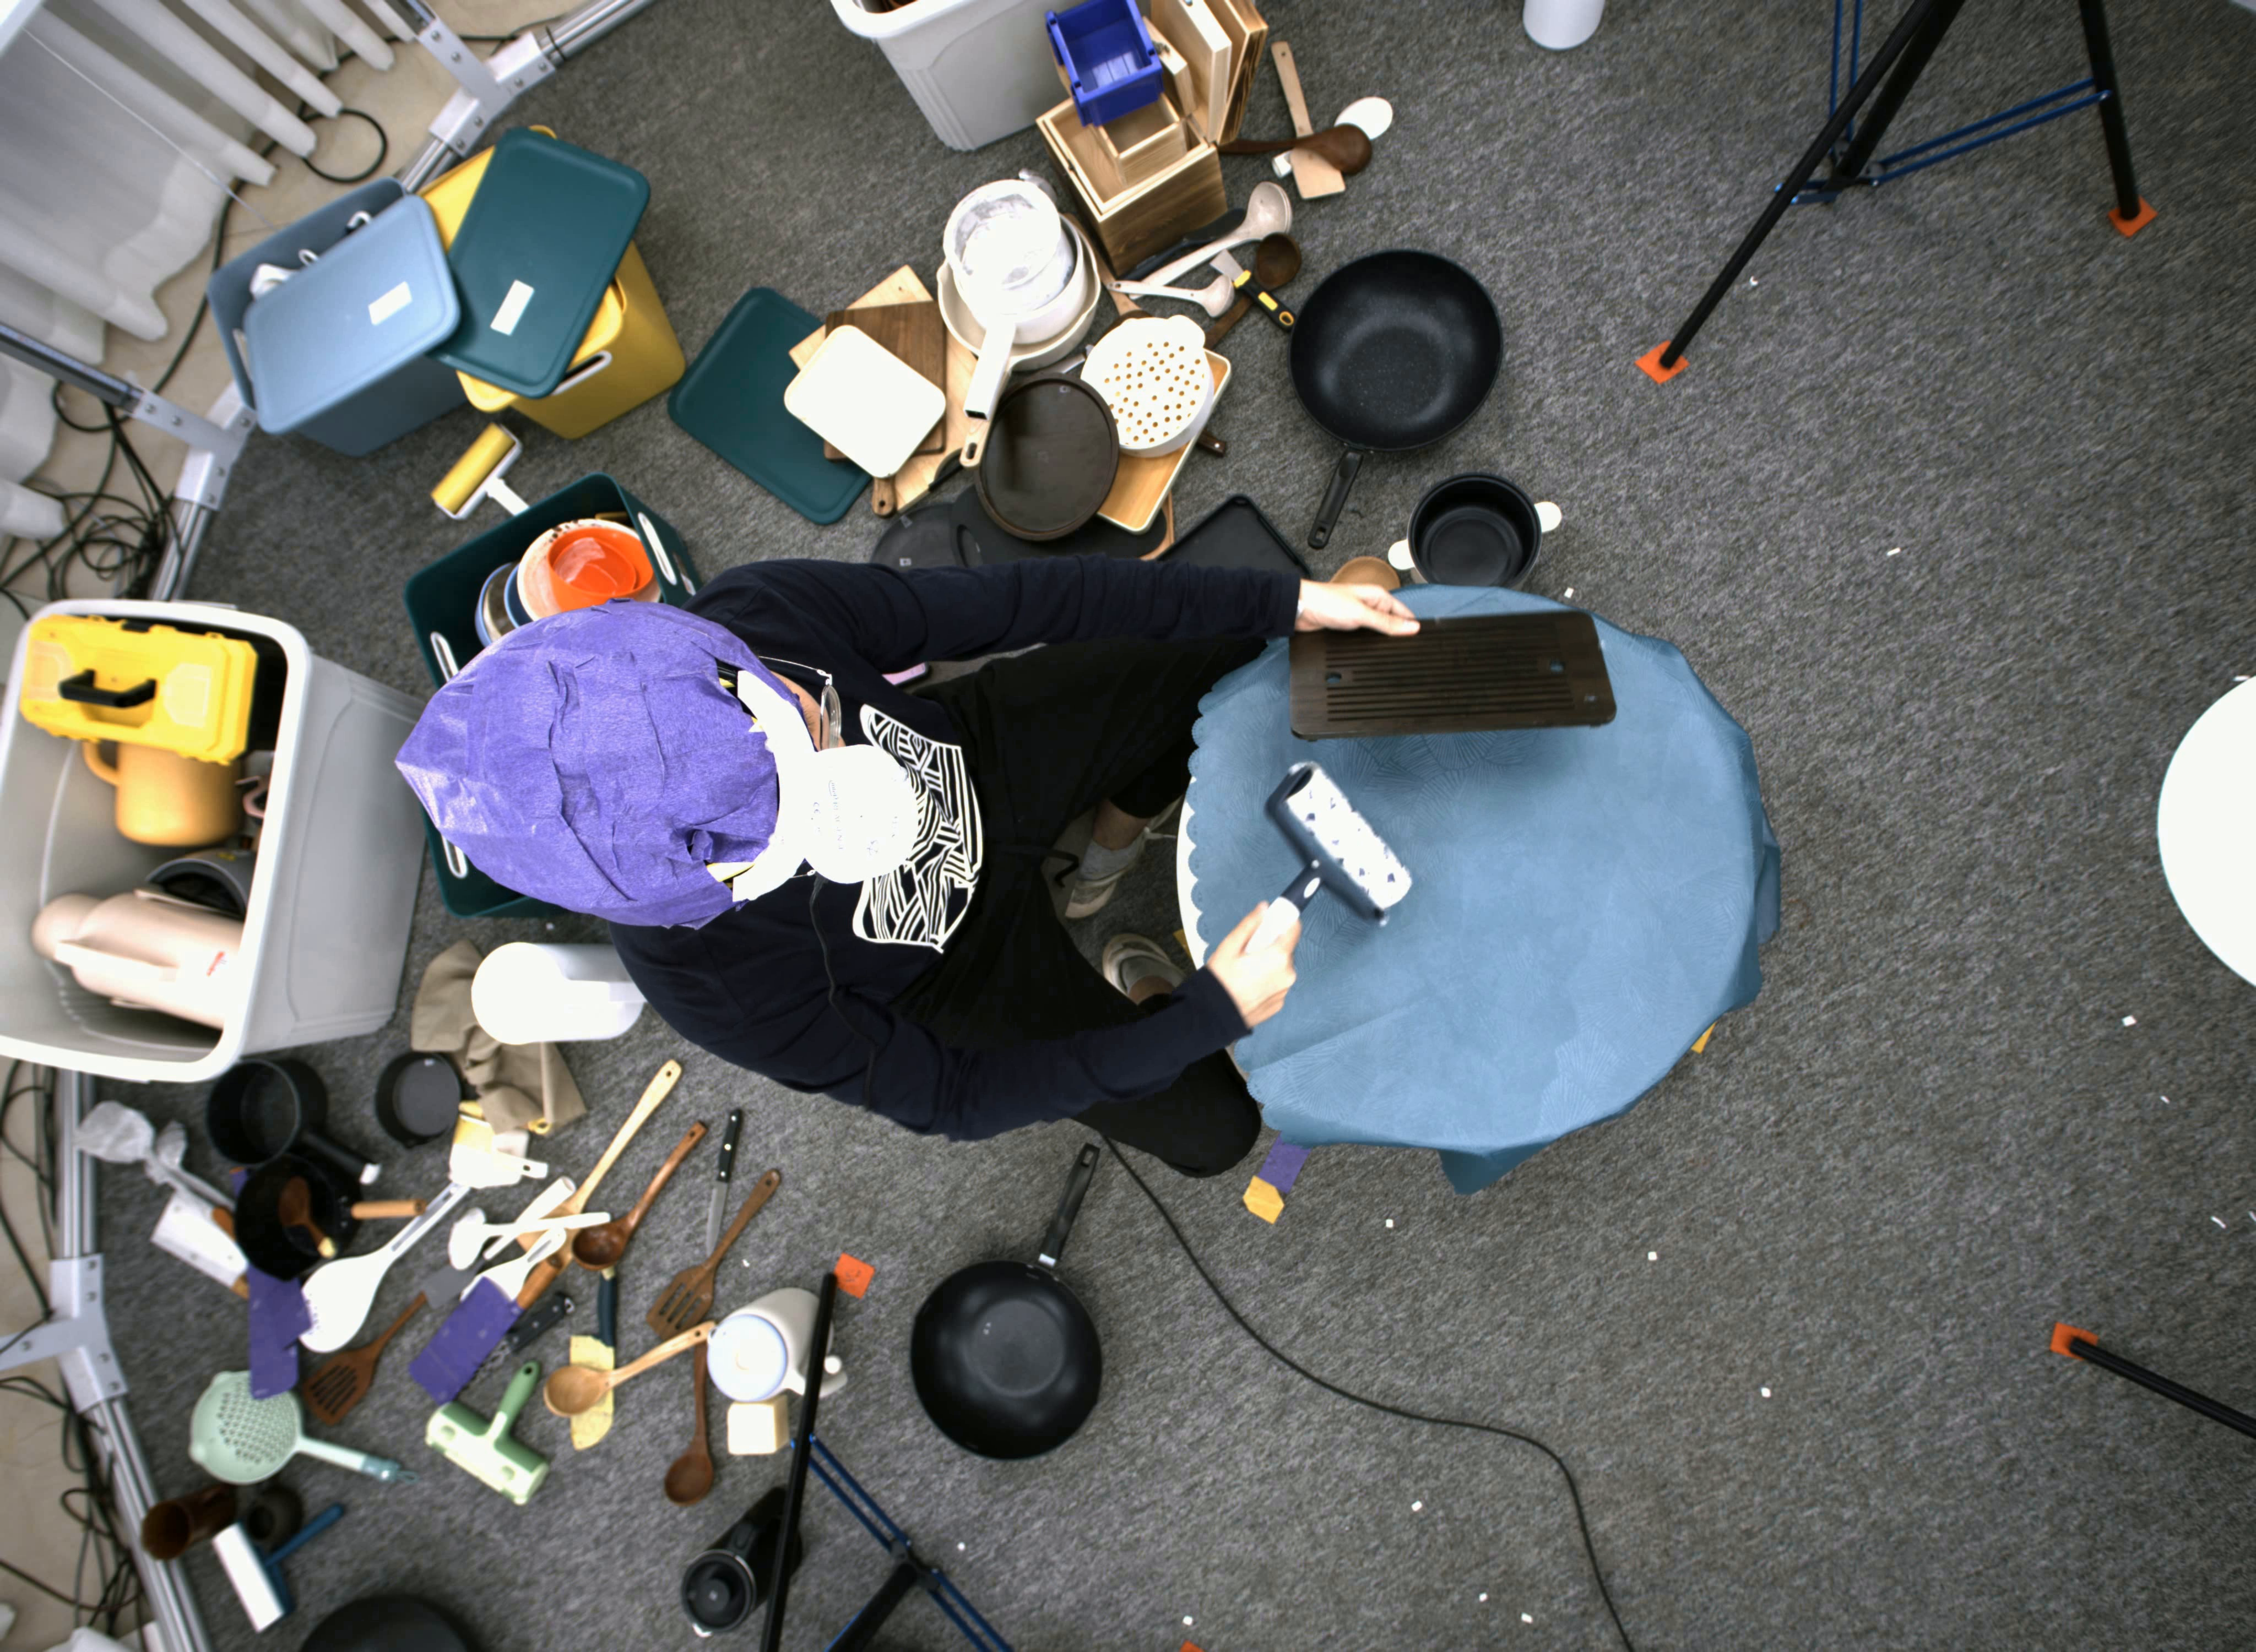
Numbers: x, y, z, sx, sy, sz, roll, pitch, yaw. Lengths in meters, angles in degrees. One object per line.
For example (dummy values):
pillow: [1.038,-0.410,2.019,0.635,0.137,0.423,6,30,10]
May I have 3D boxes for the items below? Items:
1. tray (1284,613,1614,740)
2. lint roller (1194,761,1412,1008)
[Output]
tray: [0.307,-0.147,1.341,0.307,0.019,0.165,-2,46,10]
lint roller: [0.154,0.080,1.334,0.245,0.050,0.178,-49,118,-8]
